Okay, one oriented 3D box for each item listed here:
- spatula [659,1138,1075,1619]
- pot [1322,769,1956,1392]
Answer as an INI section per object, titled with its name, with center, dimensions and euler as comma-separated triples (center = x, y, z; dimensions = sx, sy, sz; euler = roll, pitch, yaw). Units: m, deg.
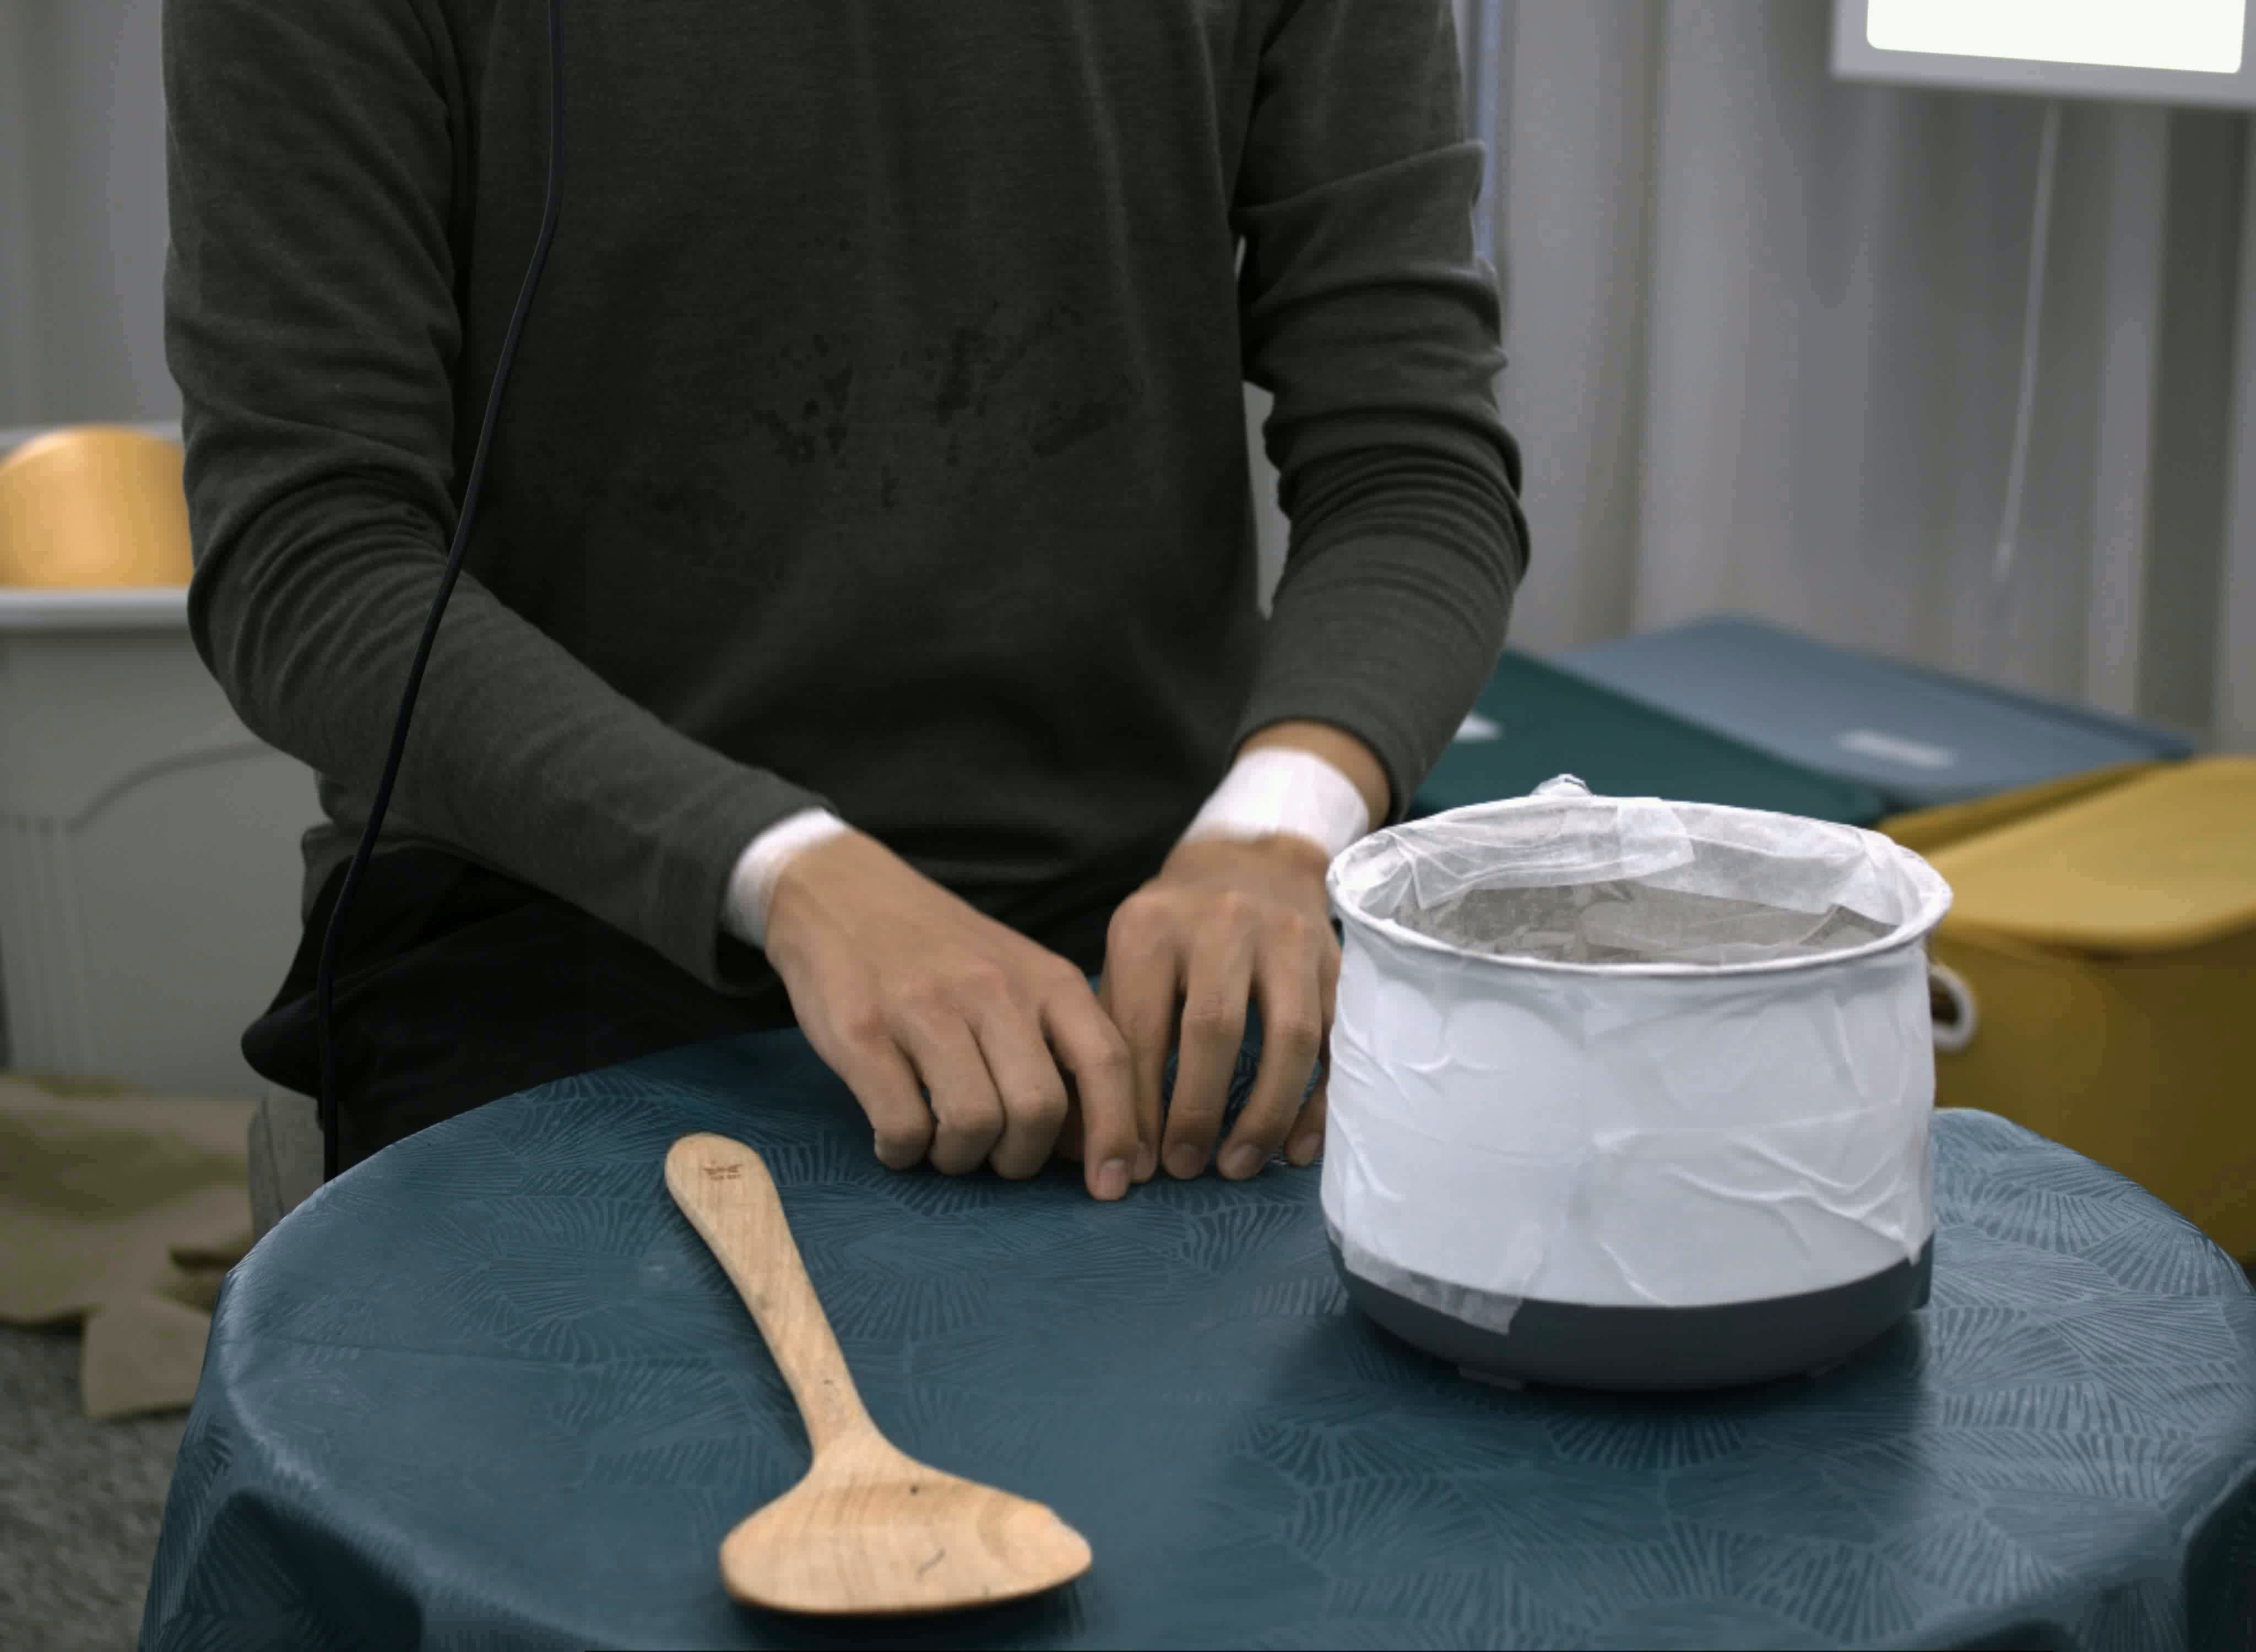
[spatula]
center = -0.096, 0.147, 1.464
dimensions = 0.096, 0.018, 0.387
euler = -1, 16, -13
[pot]
center = 0.140, 0.068, 1.530
dimensions = 0.178, 0.138, 0.232
euler = -2, 16, -9
